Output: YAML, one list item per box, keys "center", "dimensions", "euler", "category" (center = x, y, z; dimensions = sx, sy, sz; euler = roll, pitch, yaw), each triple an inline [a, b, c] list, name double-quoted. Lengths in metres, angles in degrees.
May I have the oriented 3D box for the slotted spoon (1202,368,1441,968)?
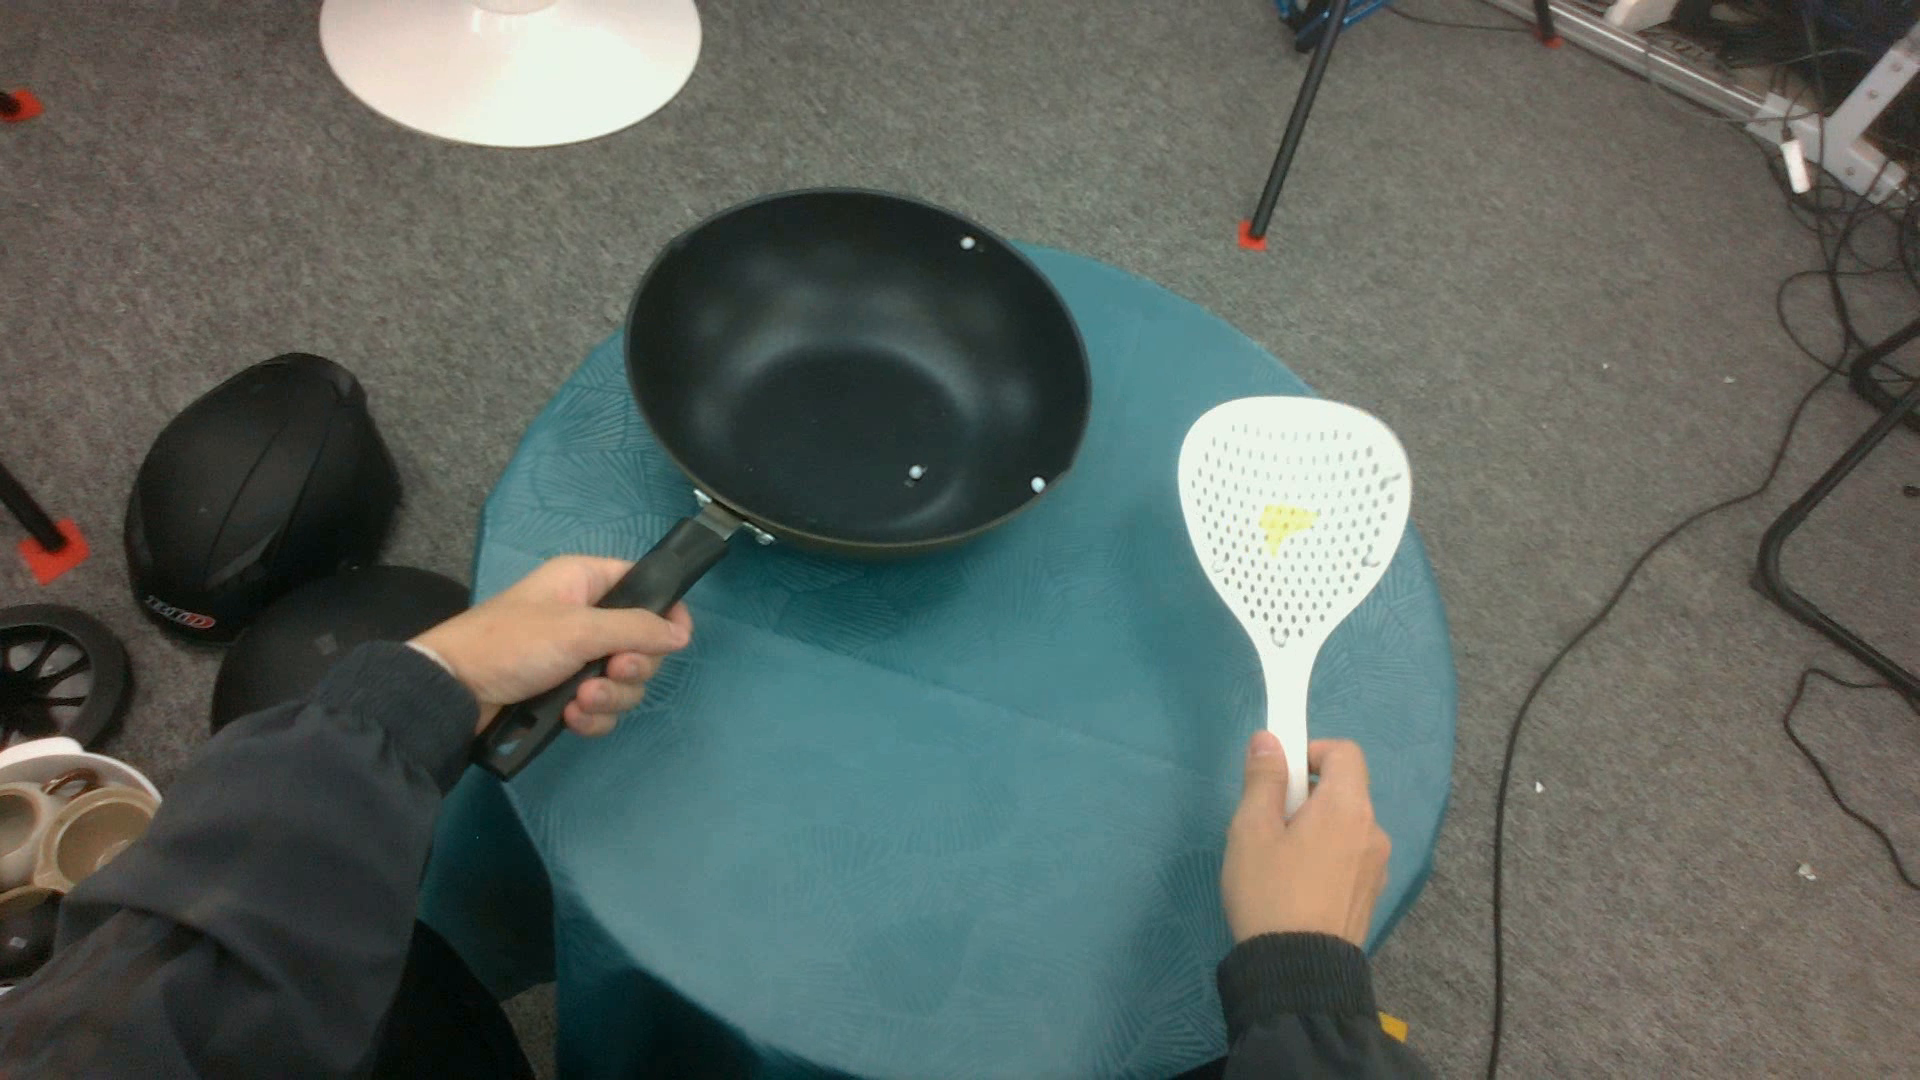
- center: [0.201, 0.057, 0.773]
  dimensions: [0.136, 0.050, 0.349]
  euler: [0, 60, 16]
  category: "slotted spoon"

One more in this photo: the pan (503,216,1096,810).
- center: [-0.102, -0.014, 0.814]
  dimensions: [0.288, 0.086, 0.465]
  euler: [26, 55, 9]
  category: "pan"
